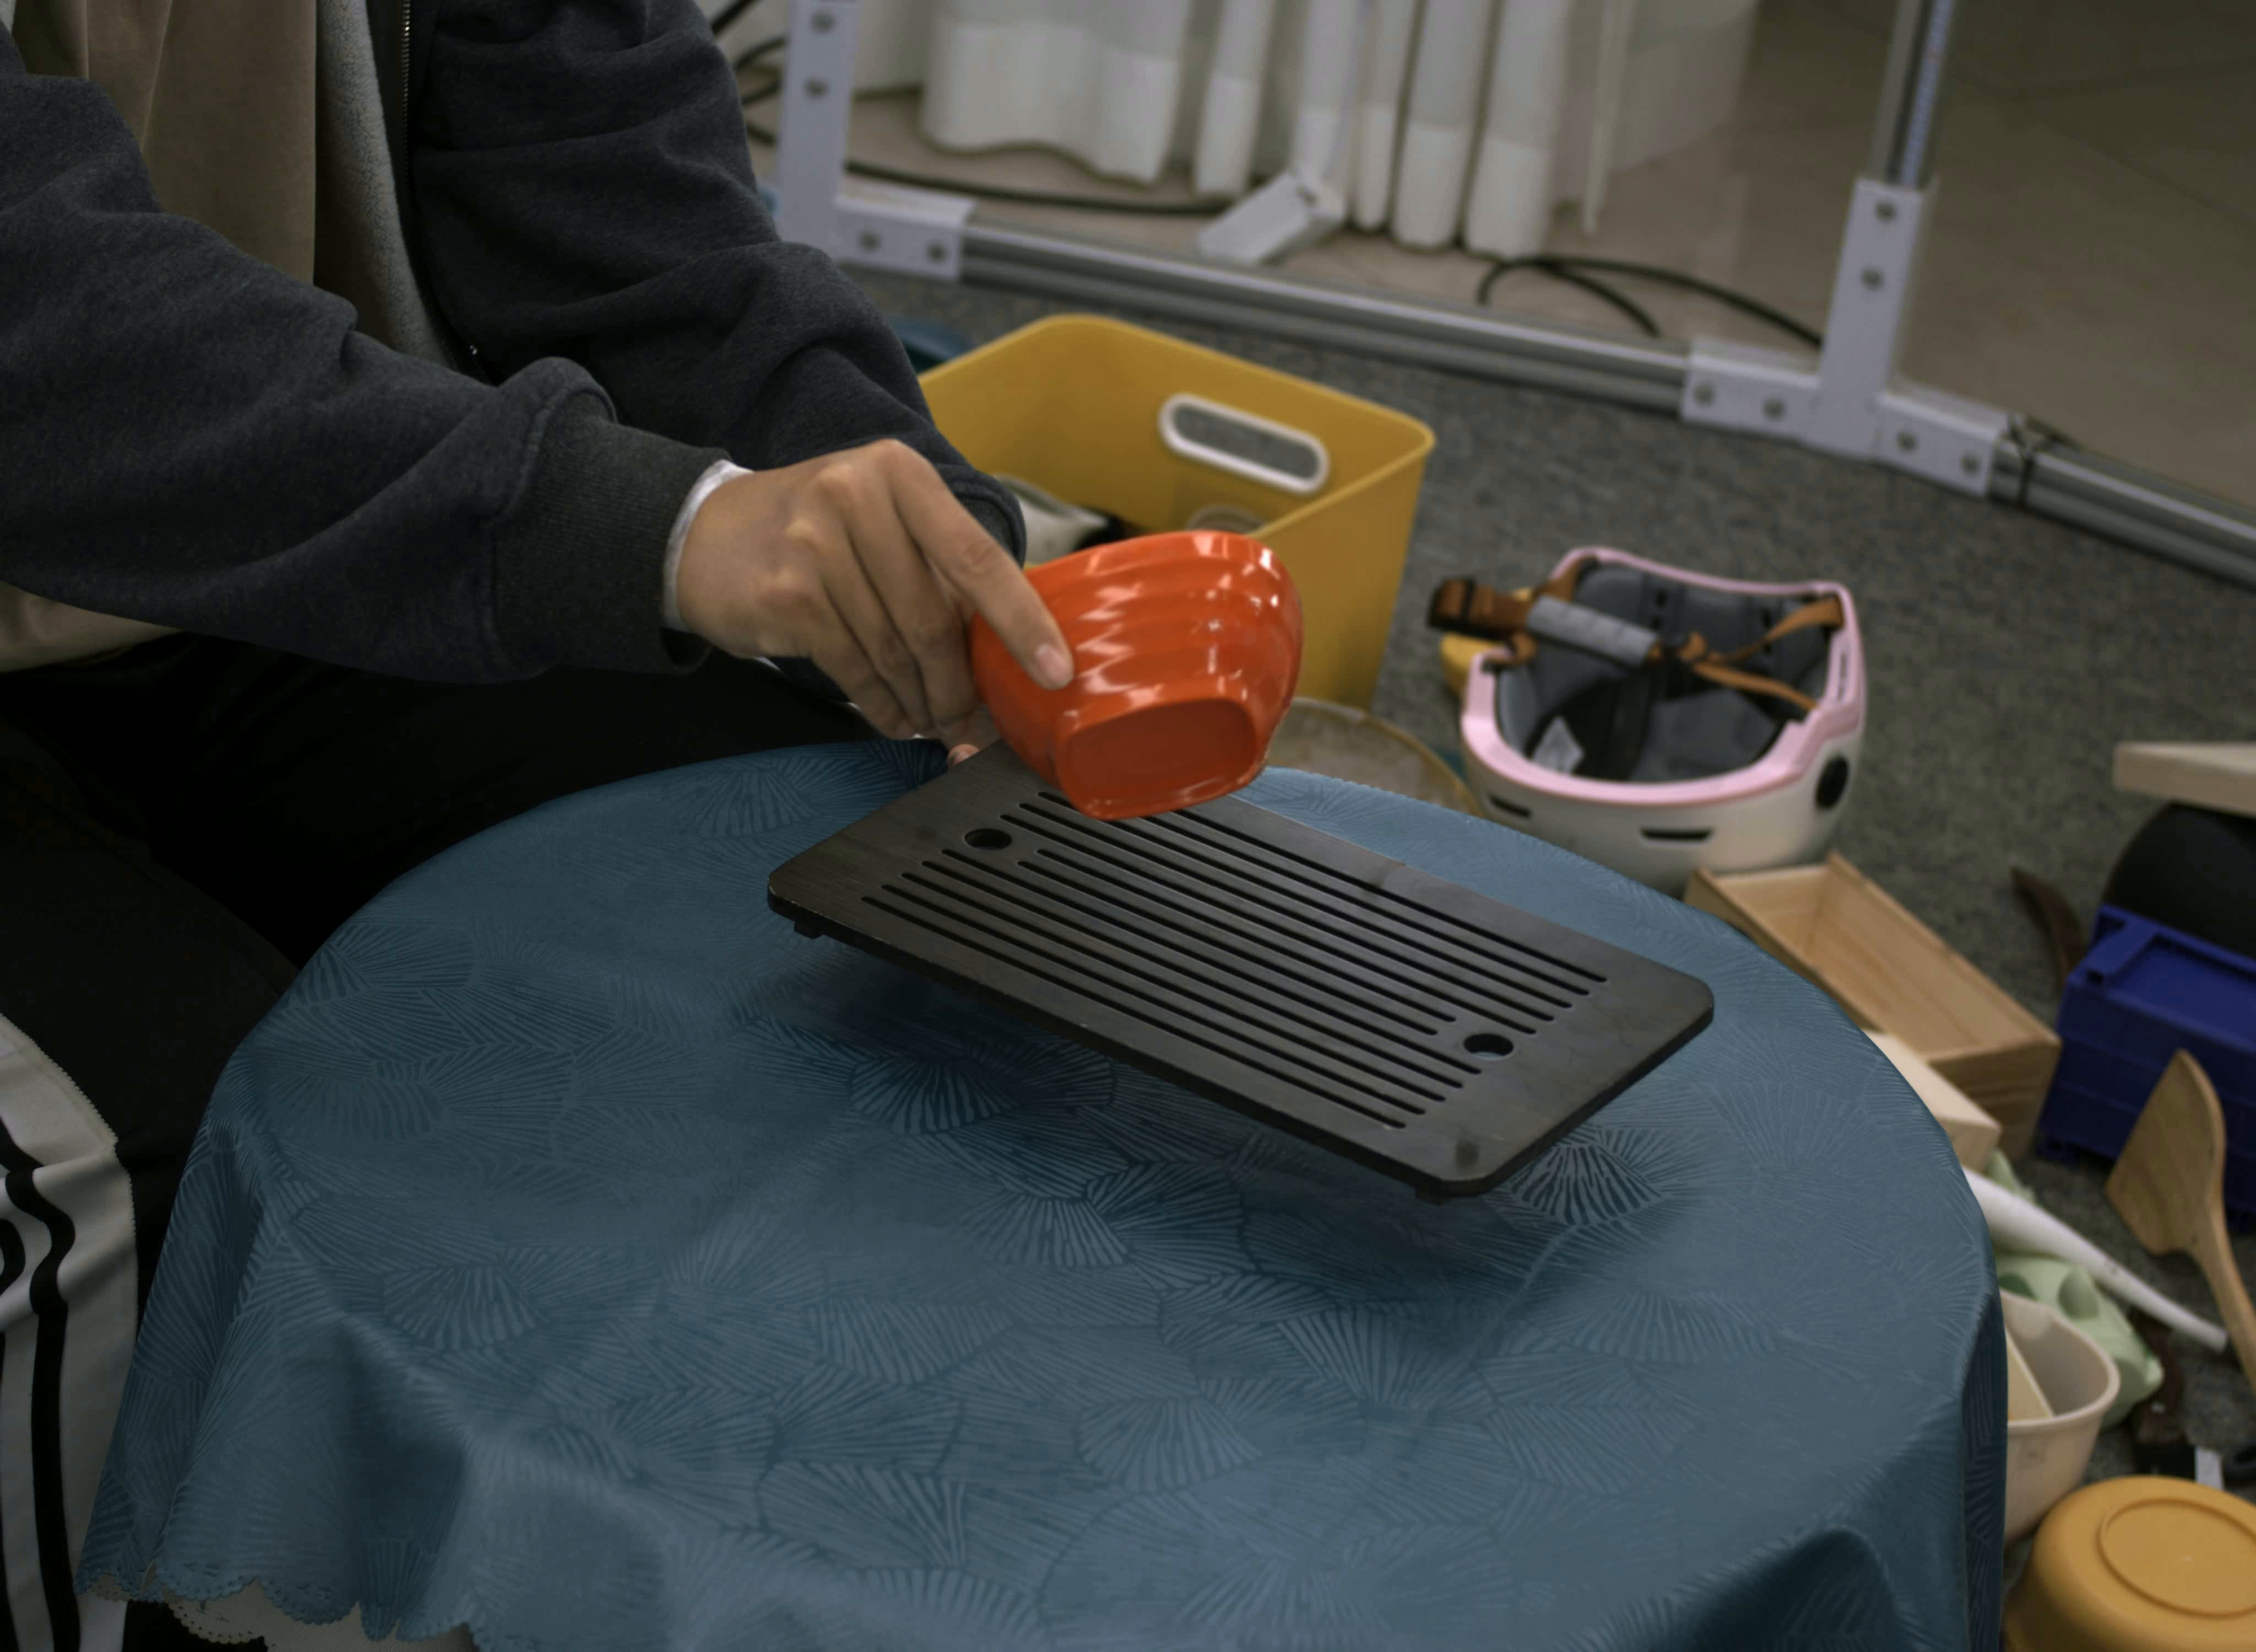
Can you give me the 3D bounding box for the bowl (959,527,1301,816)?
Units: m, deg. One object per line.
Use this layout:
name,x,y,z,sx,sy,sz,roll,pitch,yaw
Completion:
bowl,0.004,-0.043,1.699,0.118,0.118,0.052,-1,60,-16

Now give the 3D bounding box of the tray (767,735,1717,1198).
tray,0.038,0.045,1.869,0.308,0.018,0.169,21,33,31
